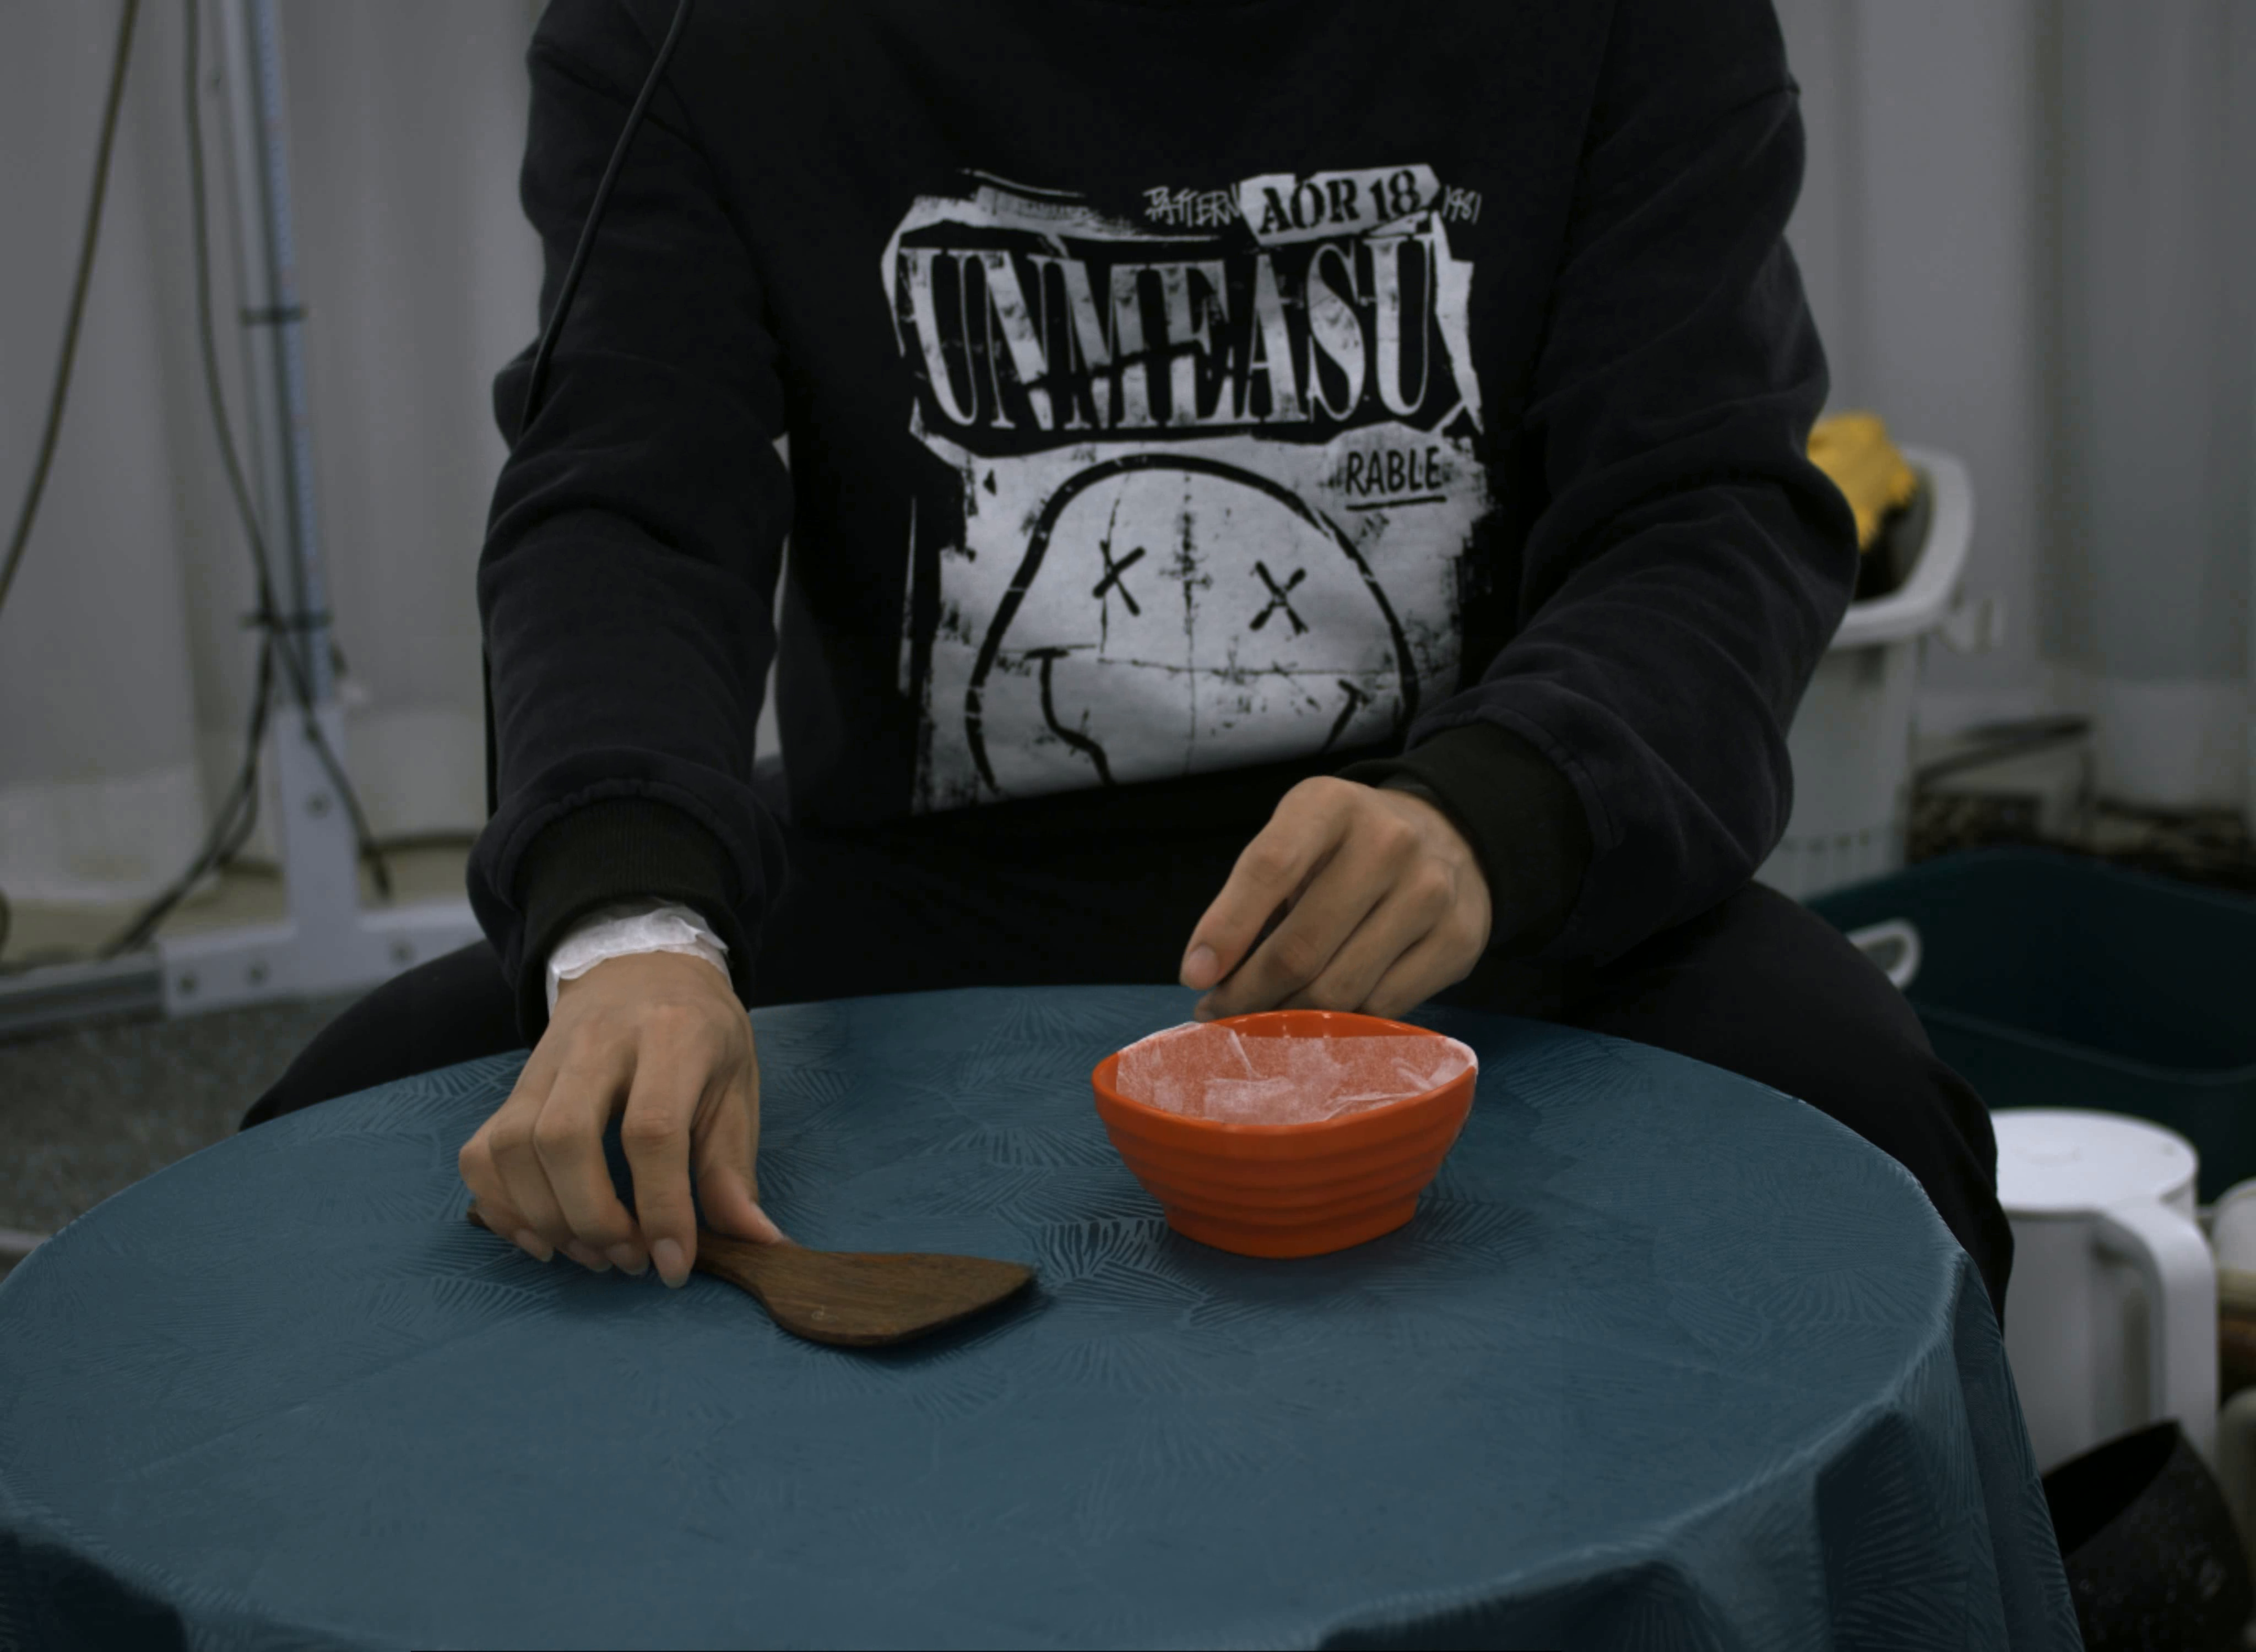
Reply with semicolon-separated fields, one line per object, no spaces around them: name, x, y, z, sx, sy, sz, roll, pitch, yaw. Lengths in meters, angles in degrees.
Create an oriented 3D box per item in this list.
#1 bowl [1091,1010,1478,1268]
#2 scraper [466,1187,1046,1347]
bowl;0.049;0.098;1.674;0.118;0.051;0.120;-4;16;1
scraper;-0.121;0.131;1.661;0.212;0.011;0.076;9;18;39
